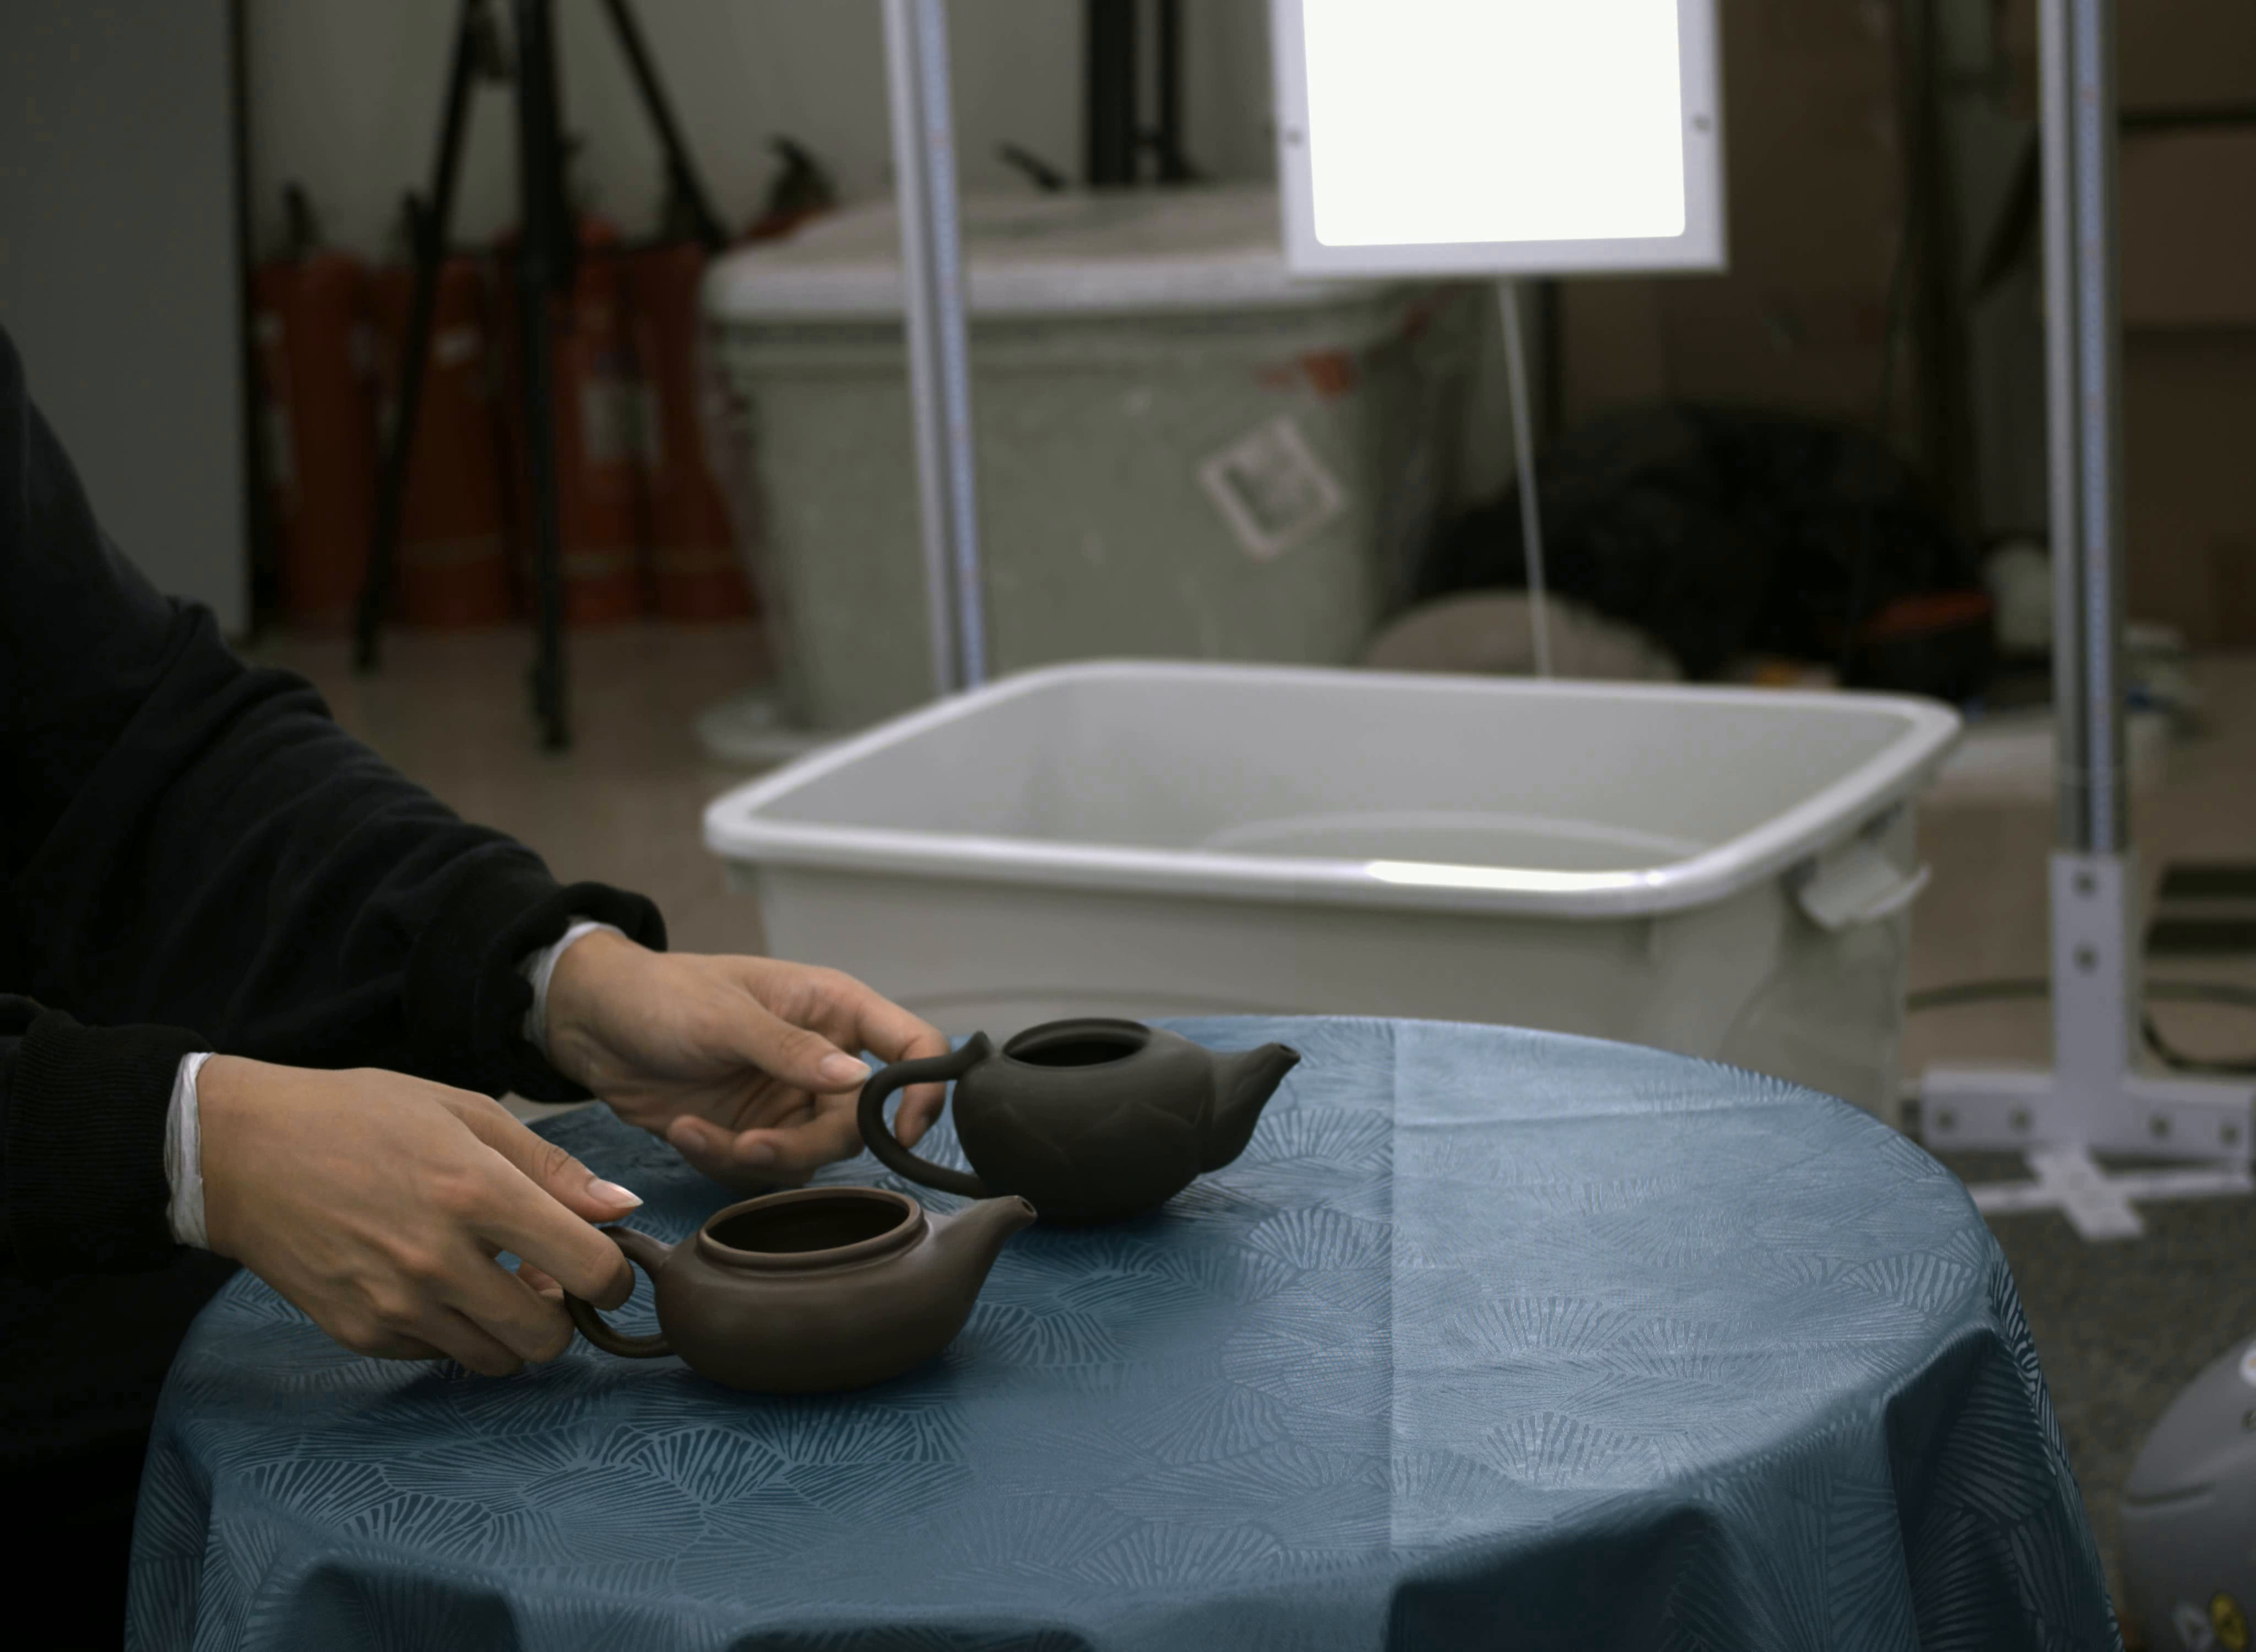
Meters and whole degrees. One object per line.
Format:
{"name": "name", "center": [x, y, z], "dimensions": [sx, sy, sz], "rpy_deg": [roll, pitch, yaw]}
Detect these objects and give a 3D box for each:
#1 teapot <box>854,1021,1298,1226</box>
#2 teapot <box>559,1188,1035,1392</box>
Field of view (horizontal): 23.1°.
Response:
{"name": "teapot", "center": [-0.017, 0.100, 1.882], "dimensions": [0.155, 0.064, 0.091], "rpy_deg": [-3, 12, 8]}
{"name": "teapot", "center": [-0.104, 0.146, 1.746], "dimensions": [0.153, 0.054, 0.102], "rpy_deg": [-4, 12, 3]}
